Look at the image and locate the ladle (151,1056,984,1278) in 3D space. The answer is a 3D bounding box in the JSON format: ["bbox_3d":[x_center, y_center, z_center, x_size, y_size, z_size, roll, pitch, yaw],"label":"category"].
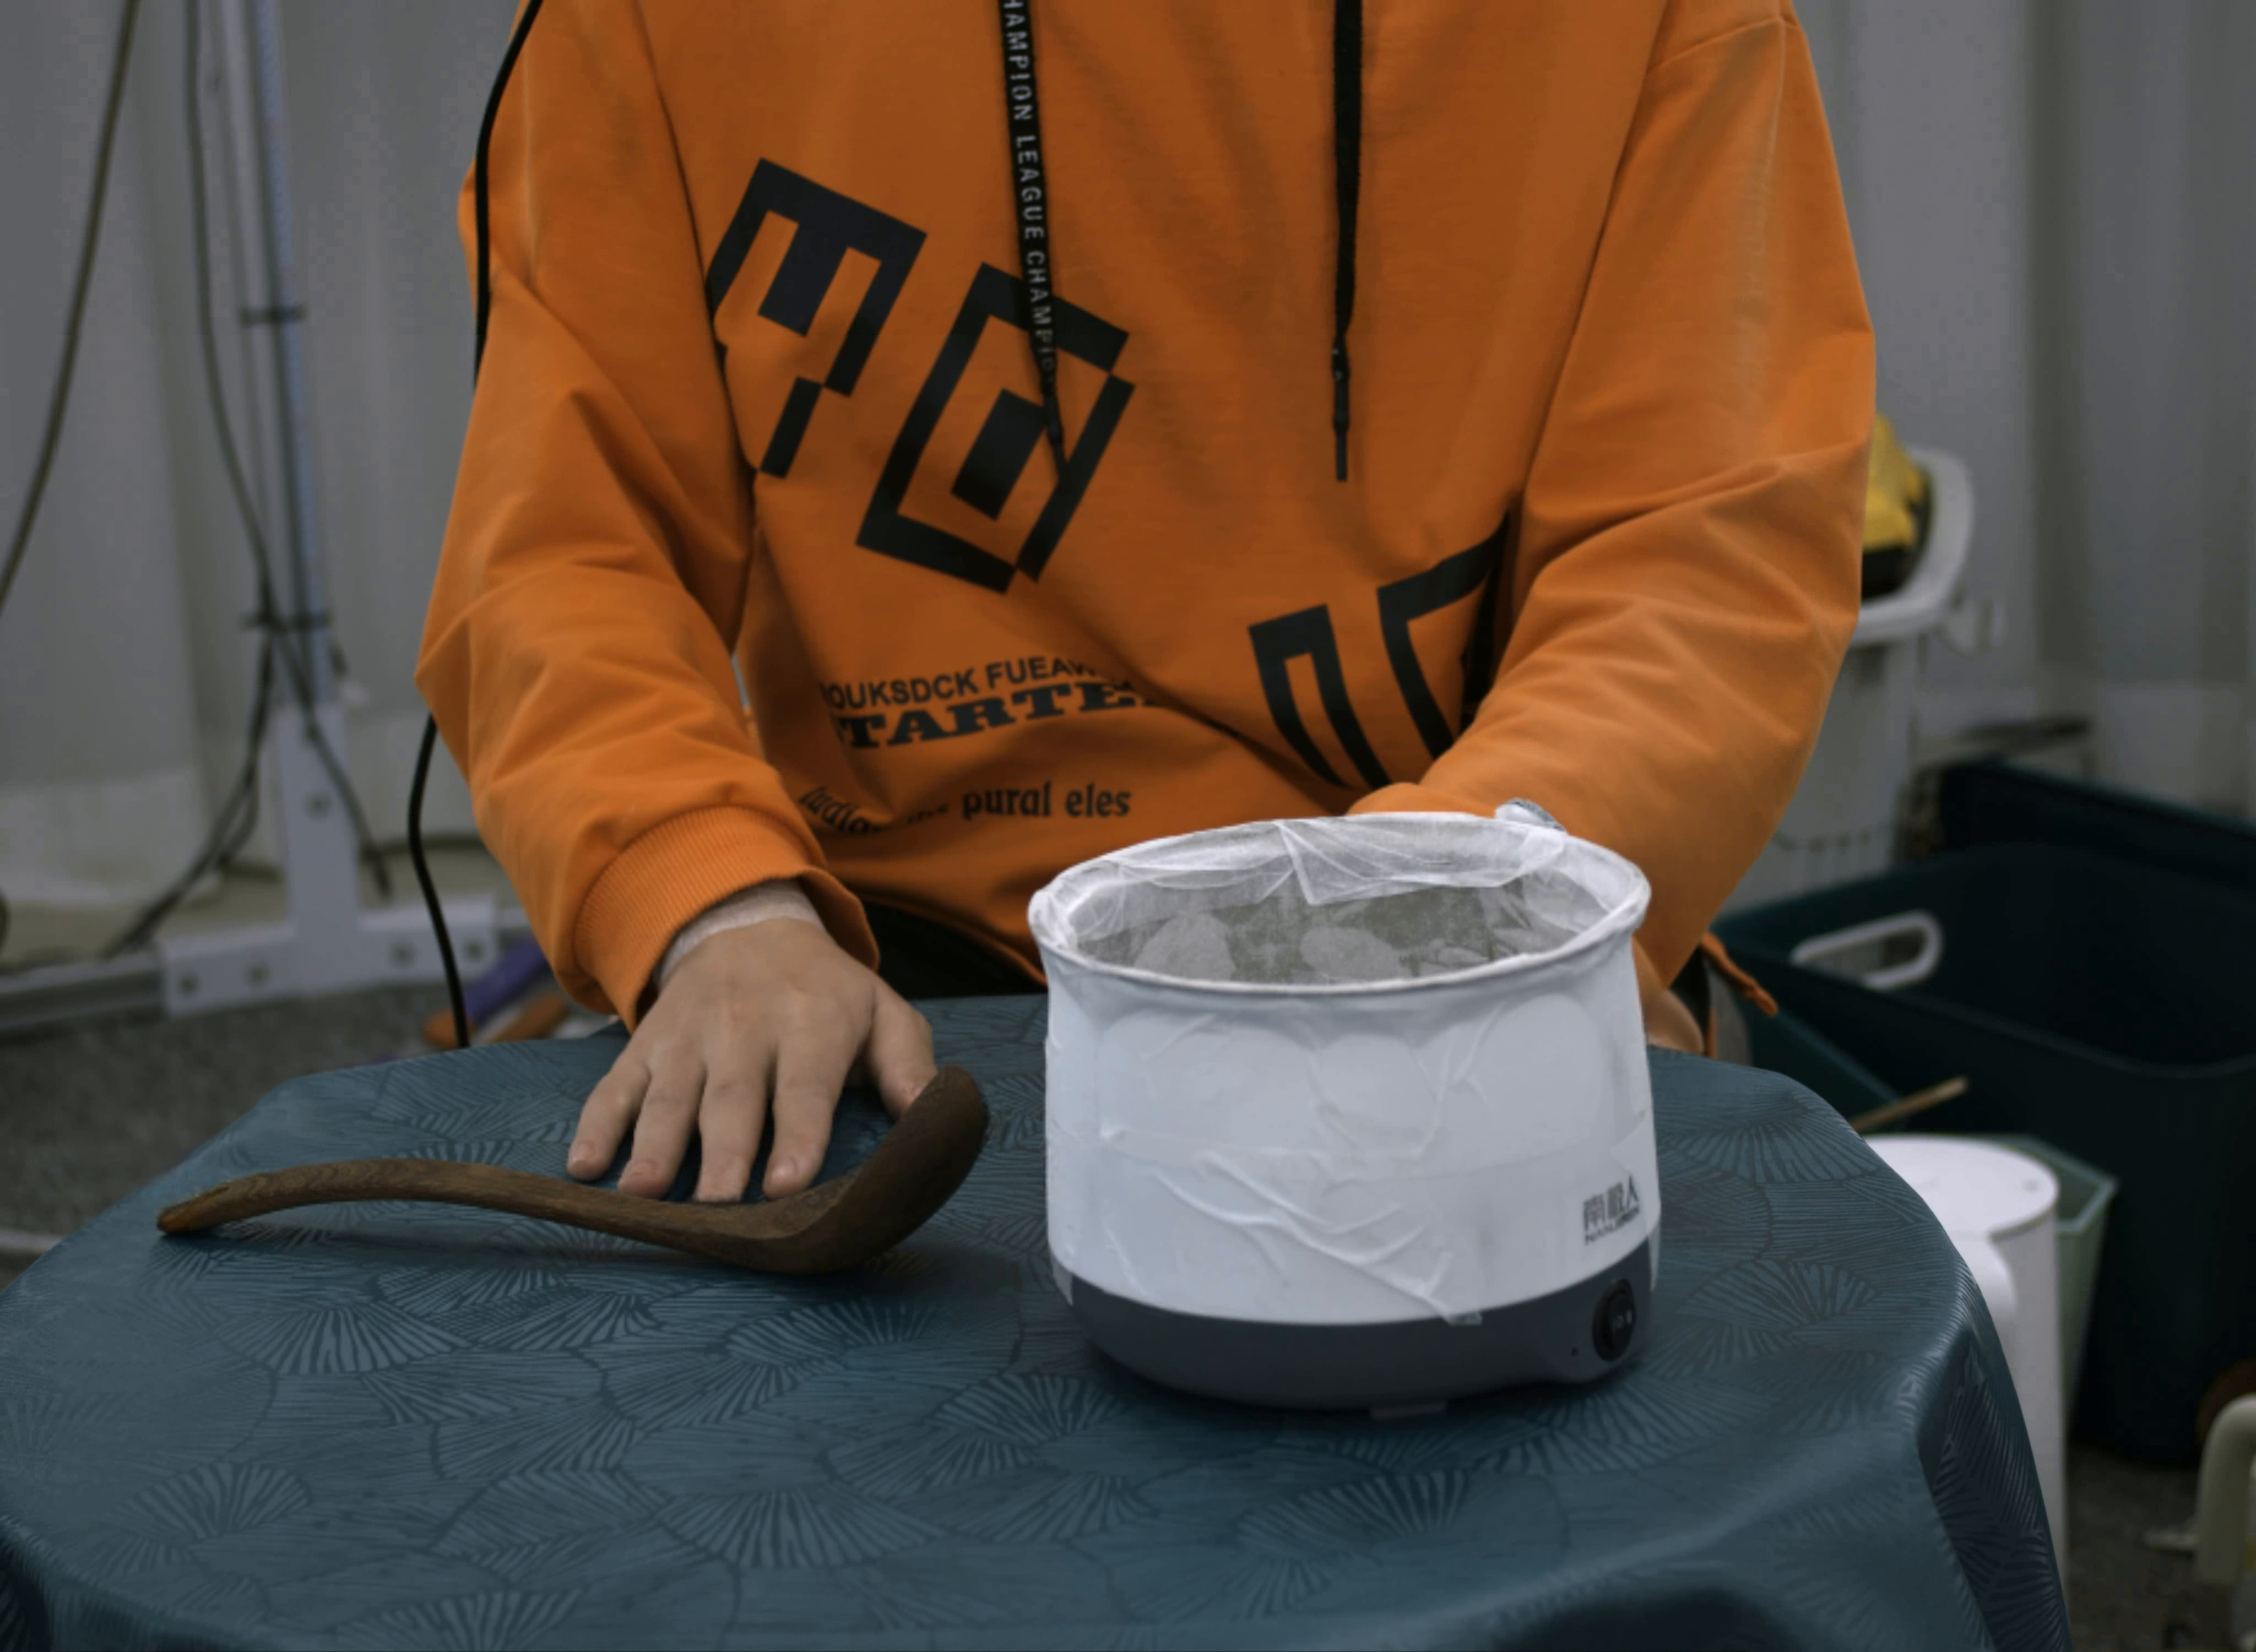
[{"bbox_3d":[-0.175,0.098,1.678,0.274,0.071,0.076,3,13,18],"label":"ladle"}]

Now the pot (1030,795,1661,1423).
[{"bbox_3d":[0.078,0.074,1.586,0.179,0.136,0.234,7,18,33],"label":"pot"}]
